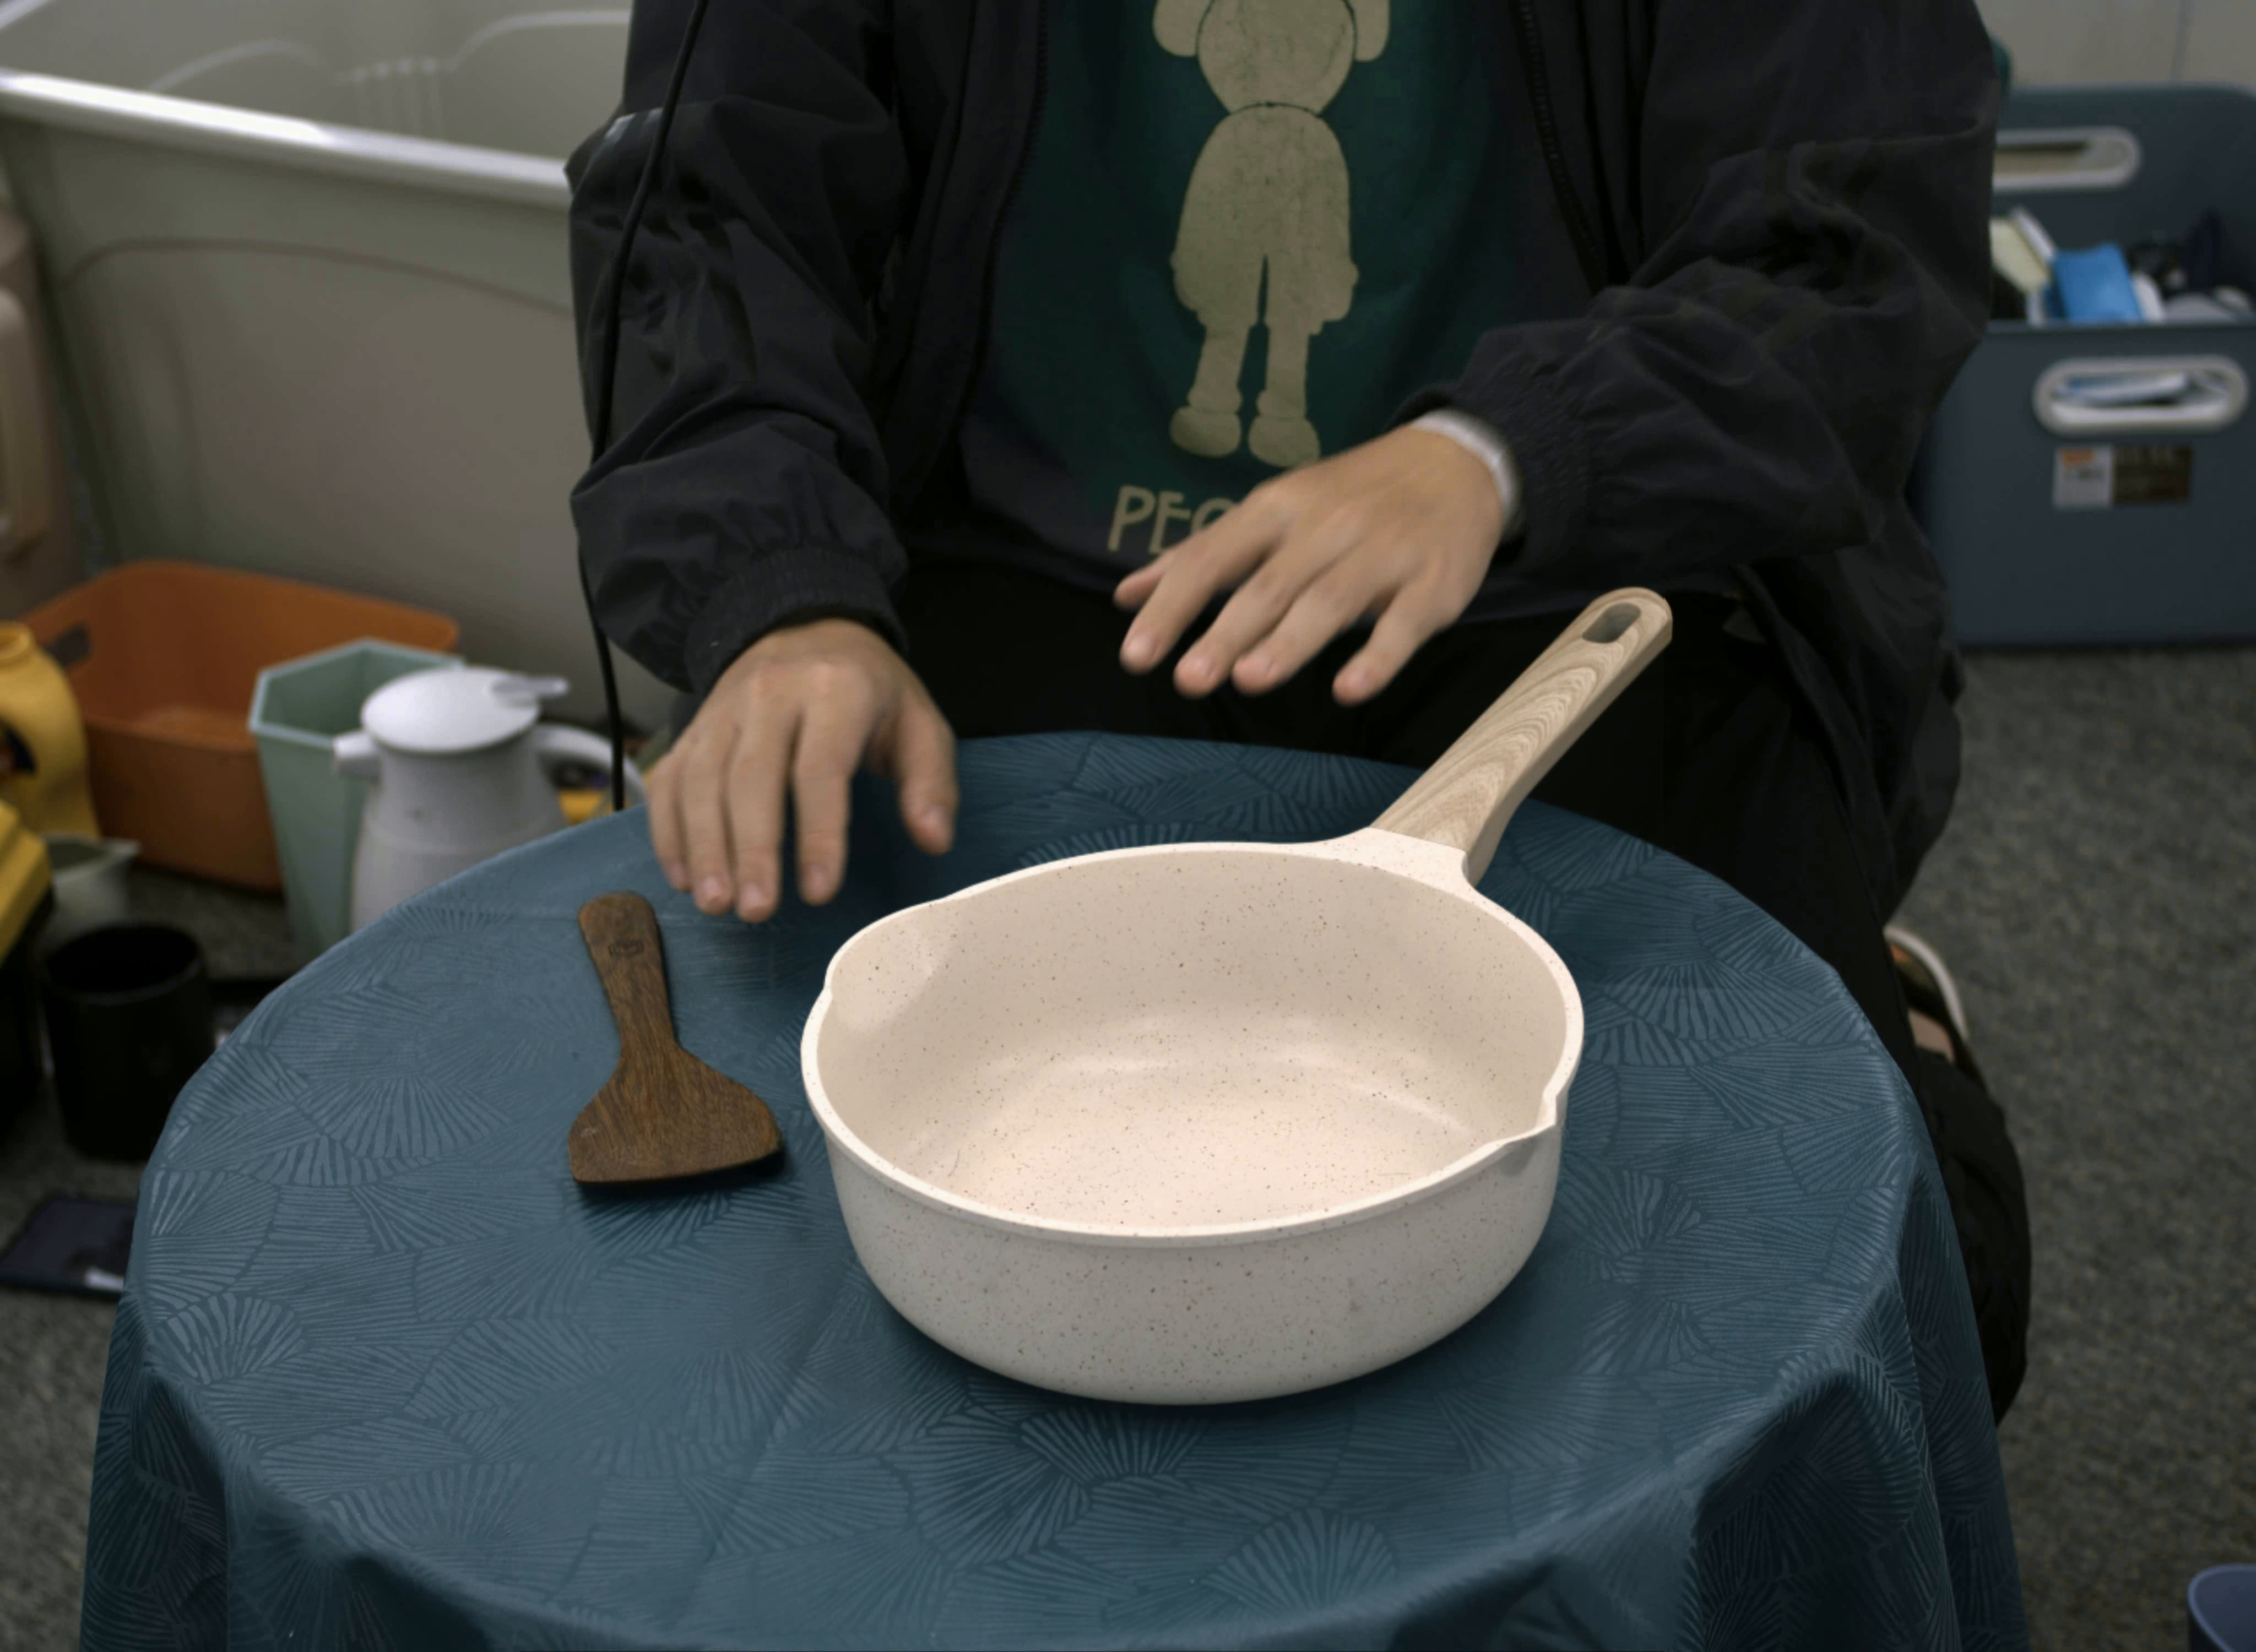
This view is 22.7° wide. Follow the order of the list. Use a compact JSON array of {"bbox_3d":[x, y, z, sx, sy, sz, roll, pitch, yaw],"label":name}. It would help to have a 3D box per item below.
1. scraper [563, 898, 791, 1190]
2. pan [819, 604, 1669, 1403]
[{"bbox_3d":[-0.167,0.075,1.957,0.076,0.011,0.214,-7,27,-9],"label":"scraper"},{"bbox_3d":[0.076,0.055,1.875,0.262,0.101,0.442,12,30,30],"label":"pan"}]
